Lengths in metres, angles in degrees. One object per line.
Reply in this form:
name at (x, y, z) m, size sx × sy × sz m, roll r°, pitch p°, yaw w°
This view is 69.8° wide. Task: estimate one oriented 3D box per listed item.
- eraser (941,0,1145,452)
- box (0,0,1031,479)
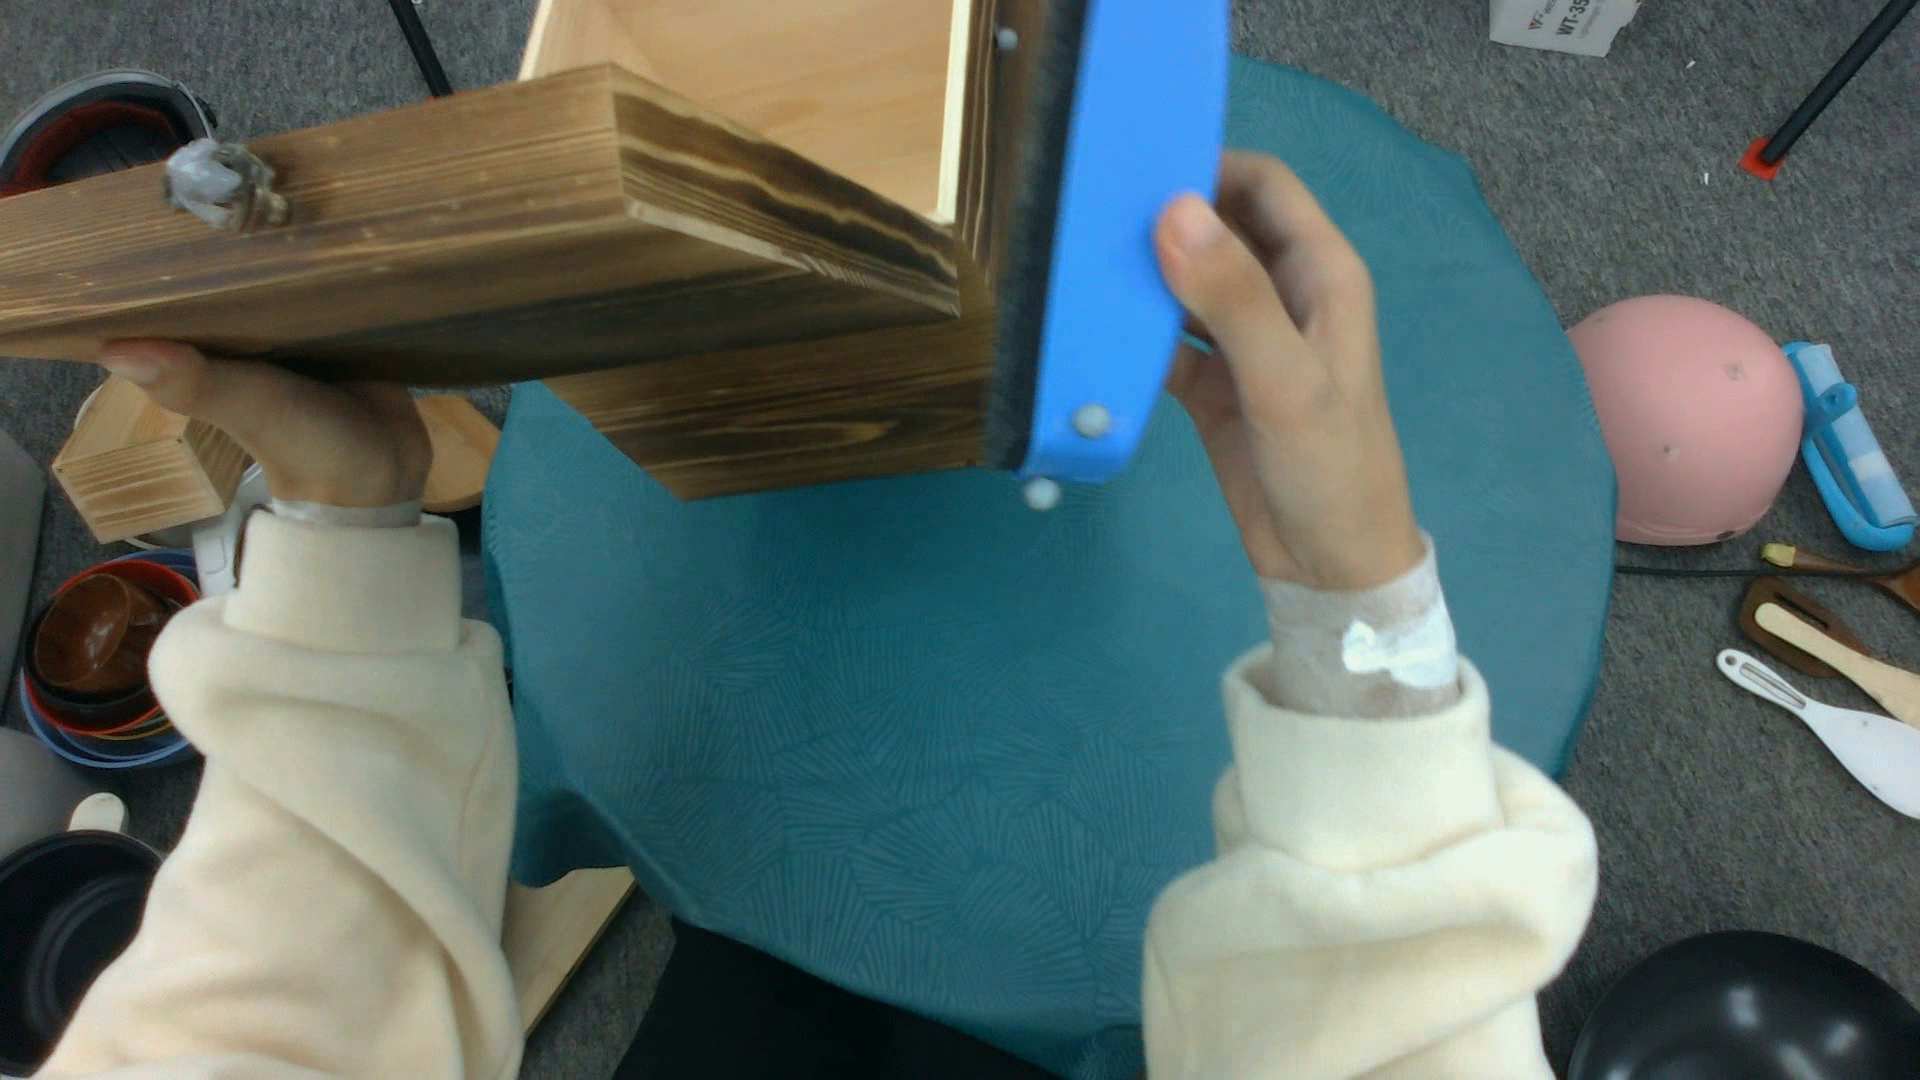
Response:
eraser at (0.019, -0.103, 0.336) m, size 0.047 × 0.054 × 0.162 m, roll 0°, pitch 88°, yaw -5°
box at (-0.103, -0.154, 0.499) m, size 0.208 × 0.374 × 0.323 m, roll -6°, pitch 65°, yaw 17°
